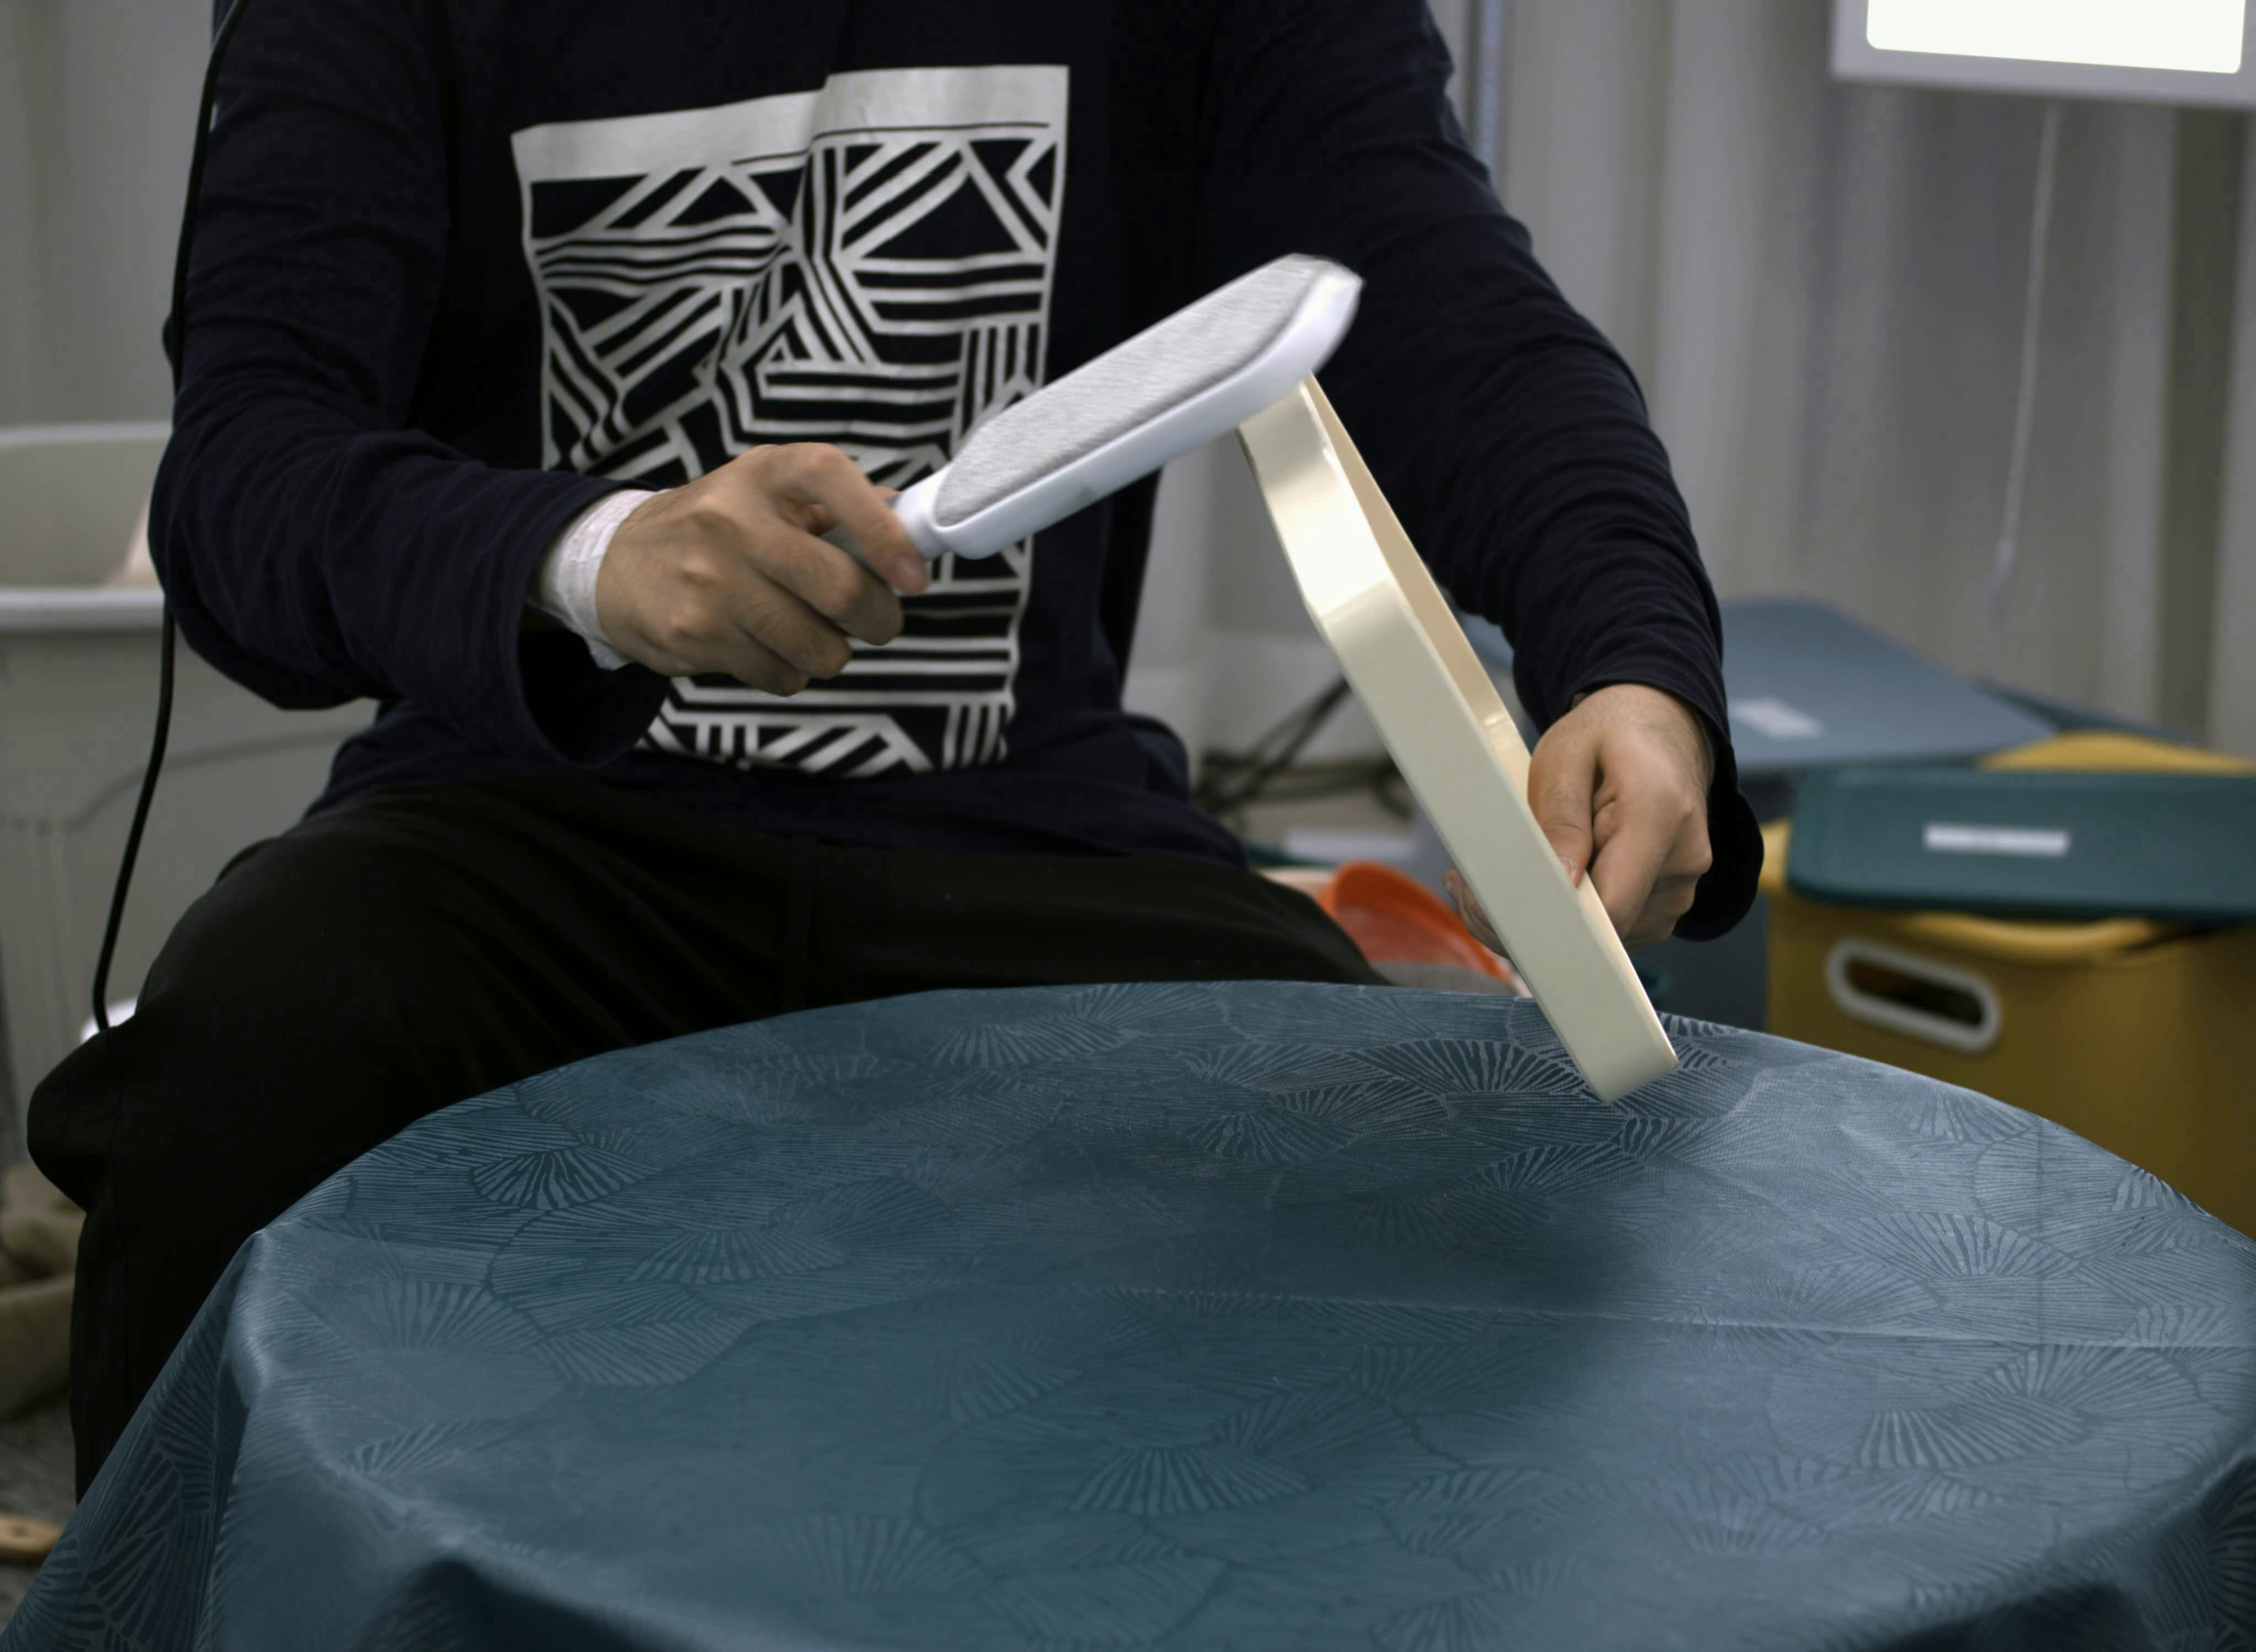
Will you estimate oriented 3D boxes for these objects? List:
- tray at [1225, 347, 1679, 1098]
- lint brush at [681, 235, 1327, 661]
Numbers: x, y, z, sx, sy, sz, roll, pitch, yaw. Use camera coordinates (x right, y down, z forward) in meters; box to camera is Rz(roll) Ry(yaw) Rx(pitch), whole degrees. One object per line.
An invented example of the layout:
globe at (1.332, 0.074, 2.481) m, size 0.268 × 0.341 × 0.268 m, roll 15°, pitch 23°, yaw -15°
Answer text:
tray at (0.089, -0.049, 1.621) m, size 0.027 × 0.194 × 0.297 m, roll -29°, pitch 22°, yaw 5°
lint brush at (-0.044, -0.110, 1.623) m, size 0.021 × 0.060 × 0.307 m, roll 35°, pitch -38°, yaw -26°
